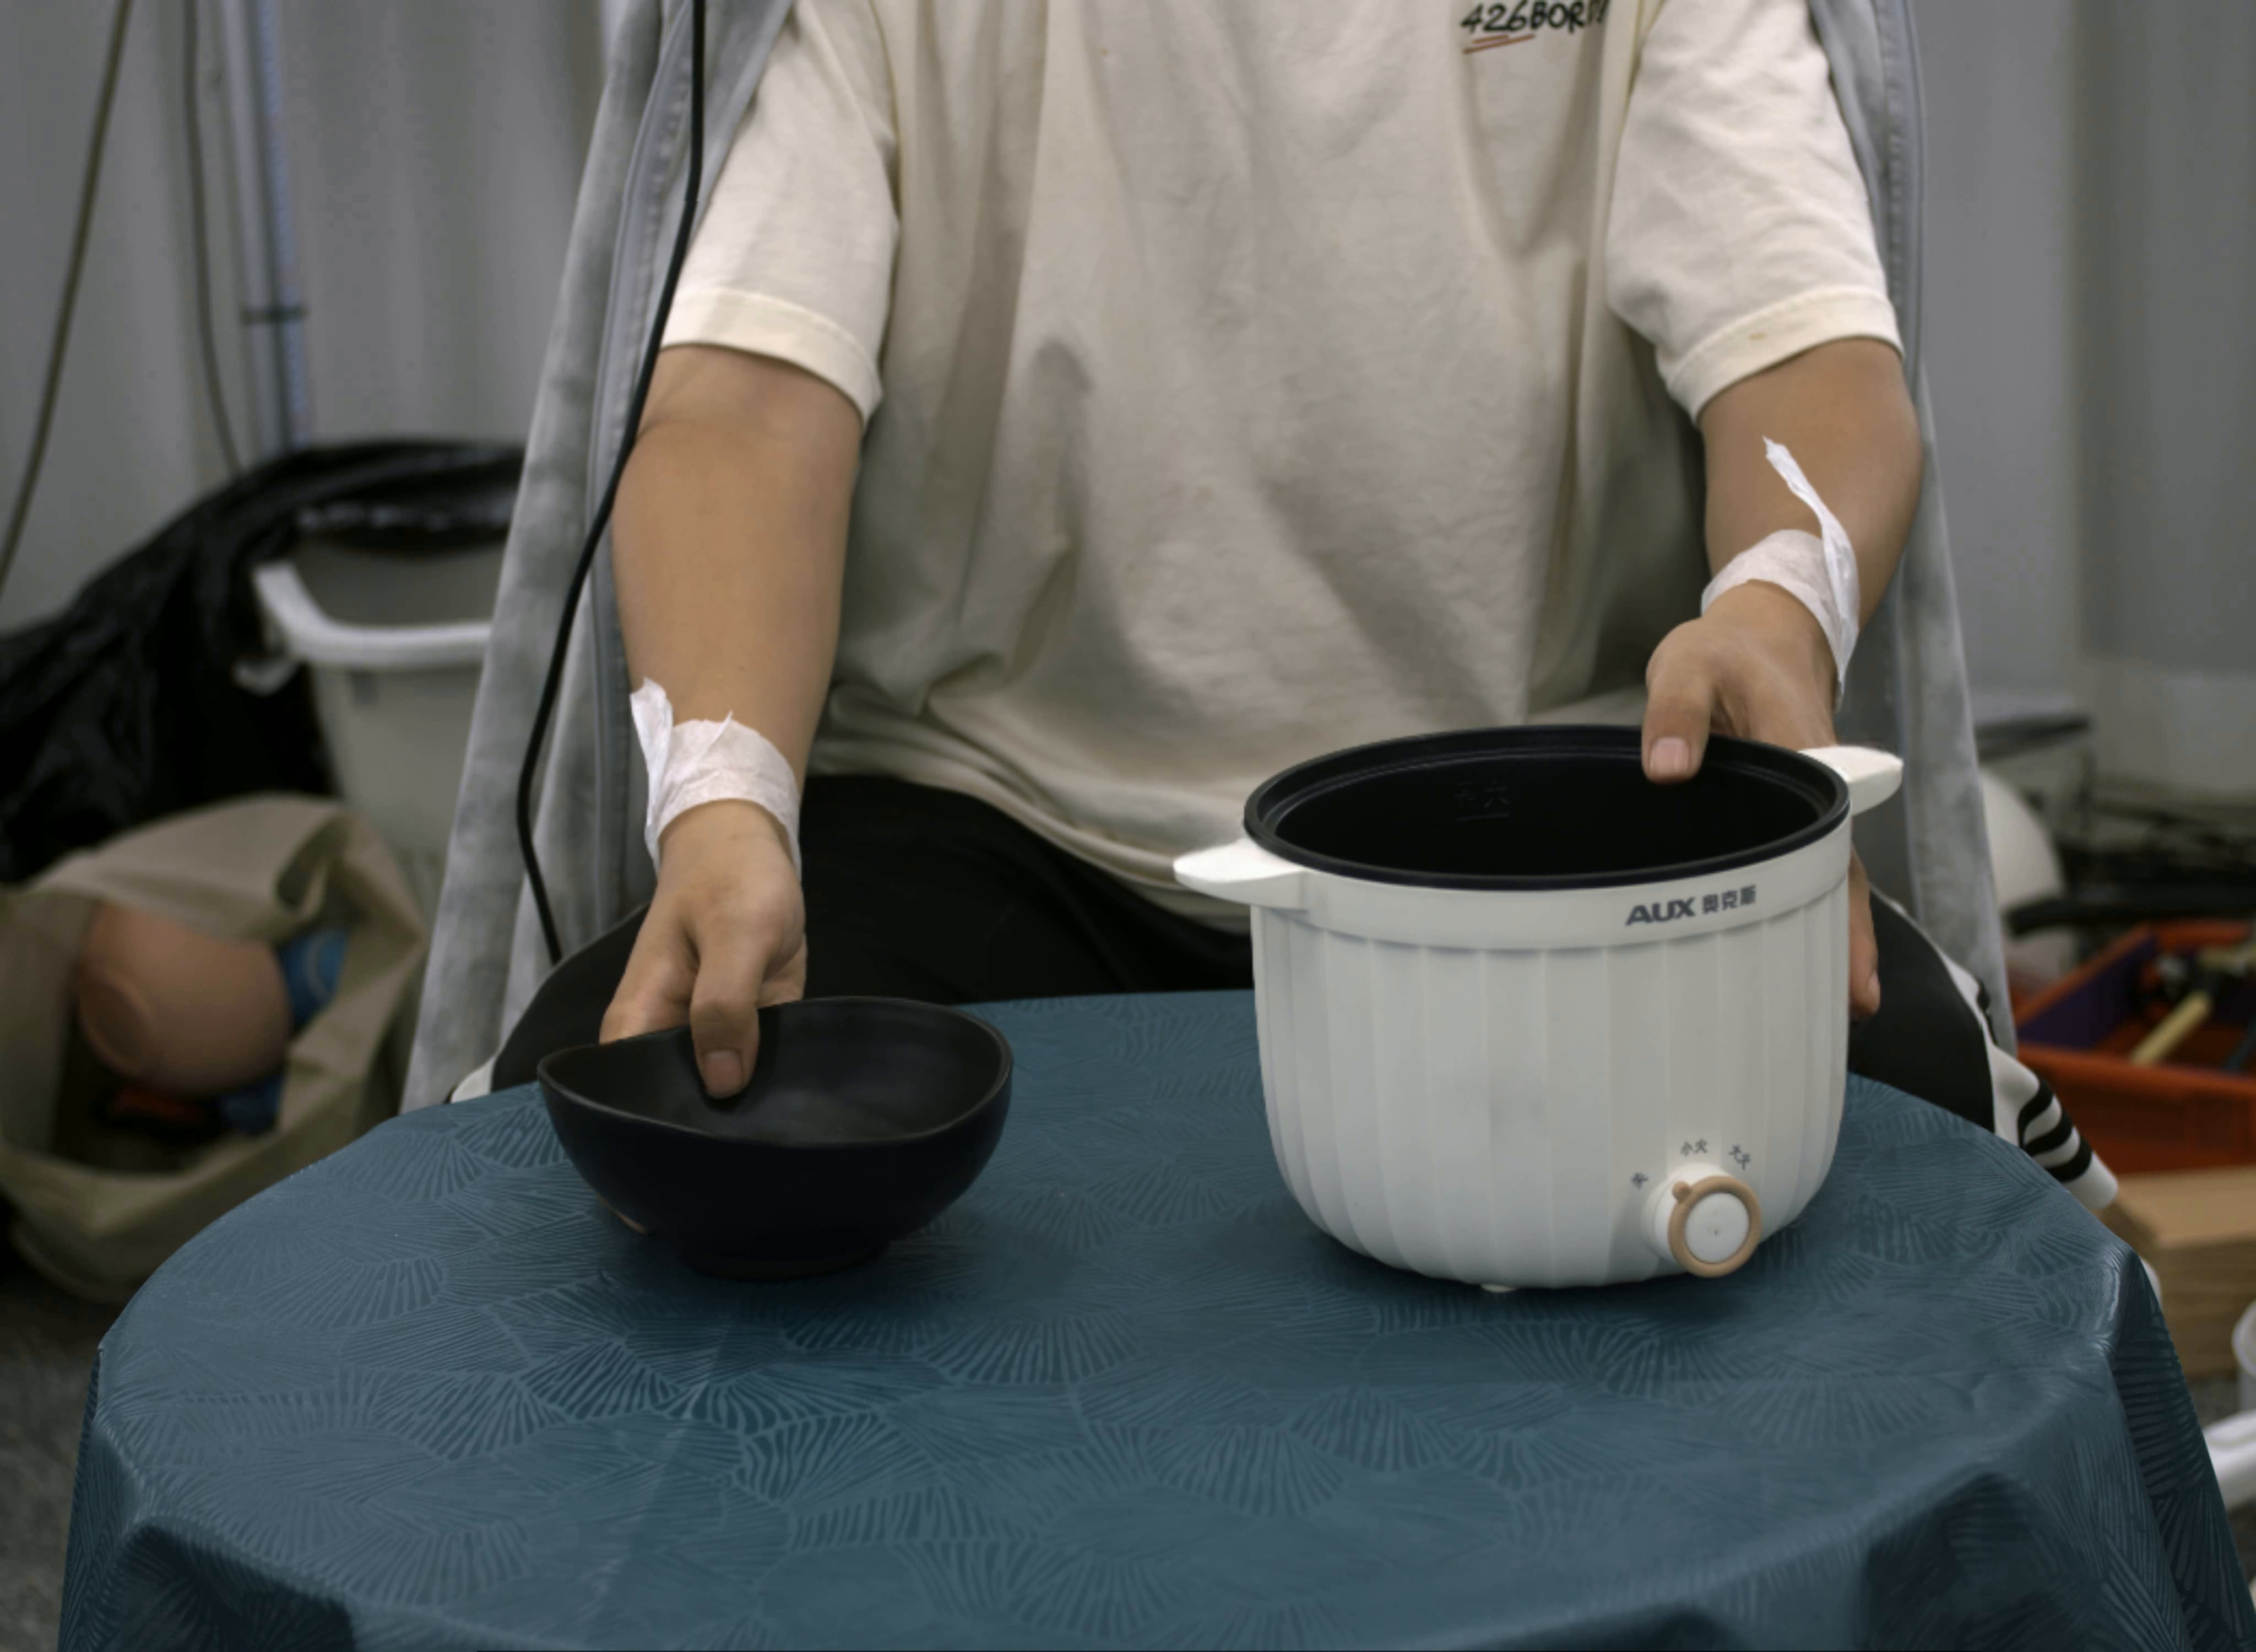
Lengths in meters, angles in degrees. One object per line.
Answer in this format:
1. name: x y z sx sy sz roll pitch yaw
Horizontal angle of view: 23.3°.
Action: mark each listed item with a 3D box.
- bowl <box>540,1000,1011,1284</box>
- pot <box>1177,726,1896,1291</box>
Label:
1. bowl: -0.108 0.100 1.673 0.137 0.066 0.171 -11 15 -32
2. pot: 0.131 0.057 1.646 0.239 0.142 0.192 -10 13 -22
